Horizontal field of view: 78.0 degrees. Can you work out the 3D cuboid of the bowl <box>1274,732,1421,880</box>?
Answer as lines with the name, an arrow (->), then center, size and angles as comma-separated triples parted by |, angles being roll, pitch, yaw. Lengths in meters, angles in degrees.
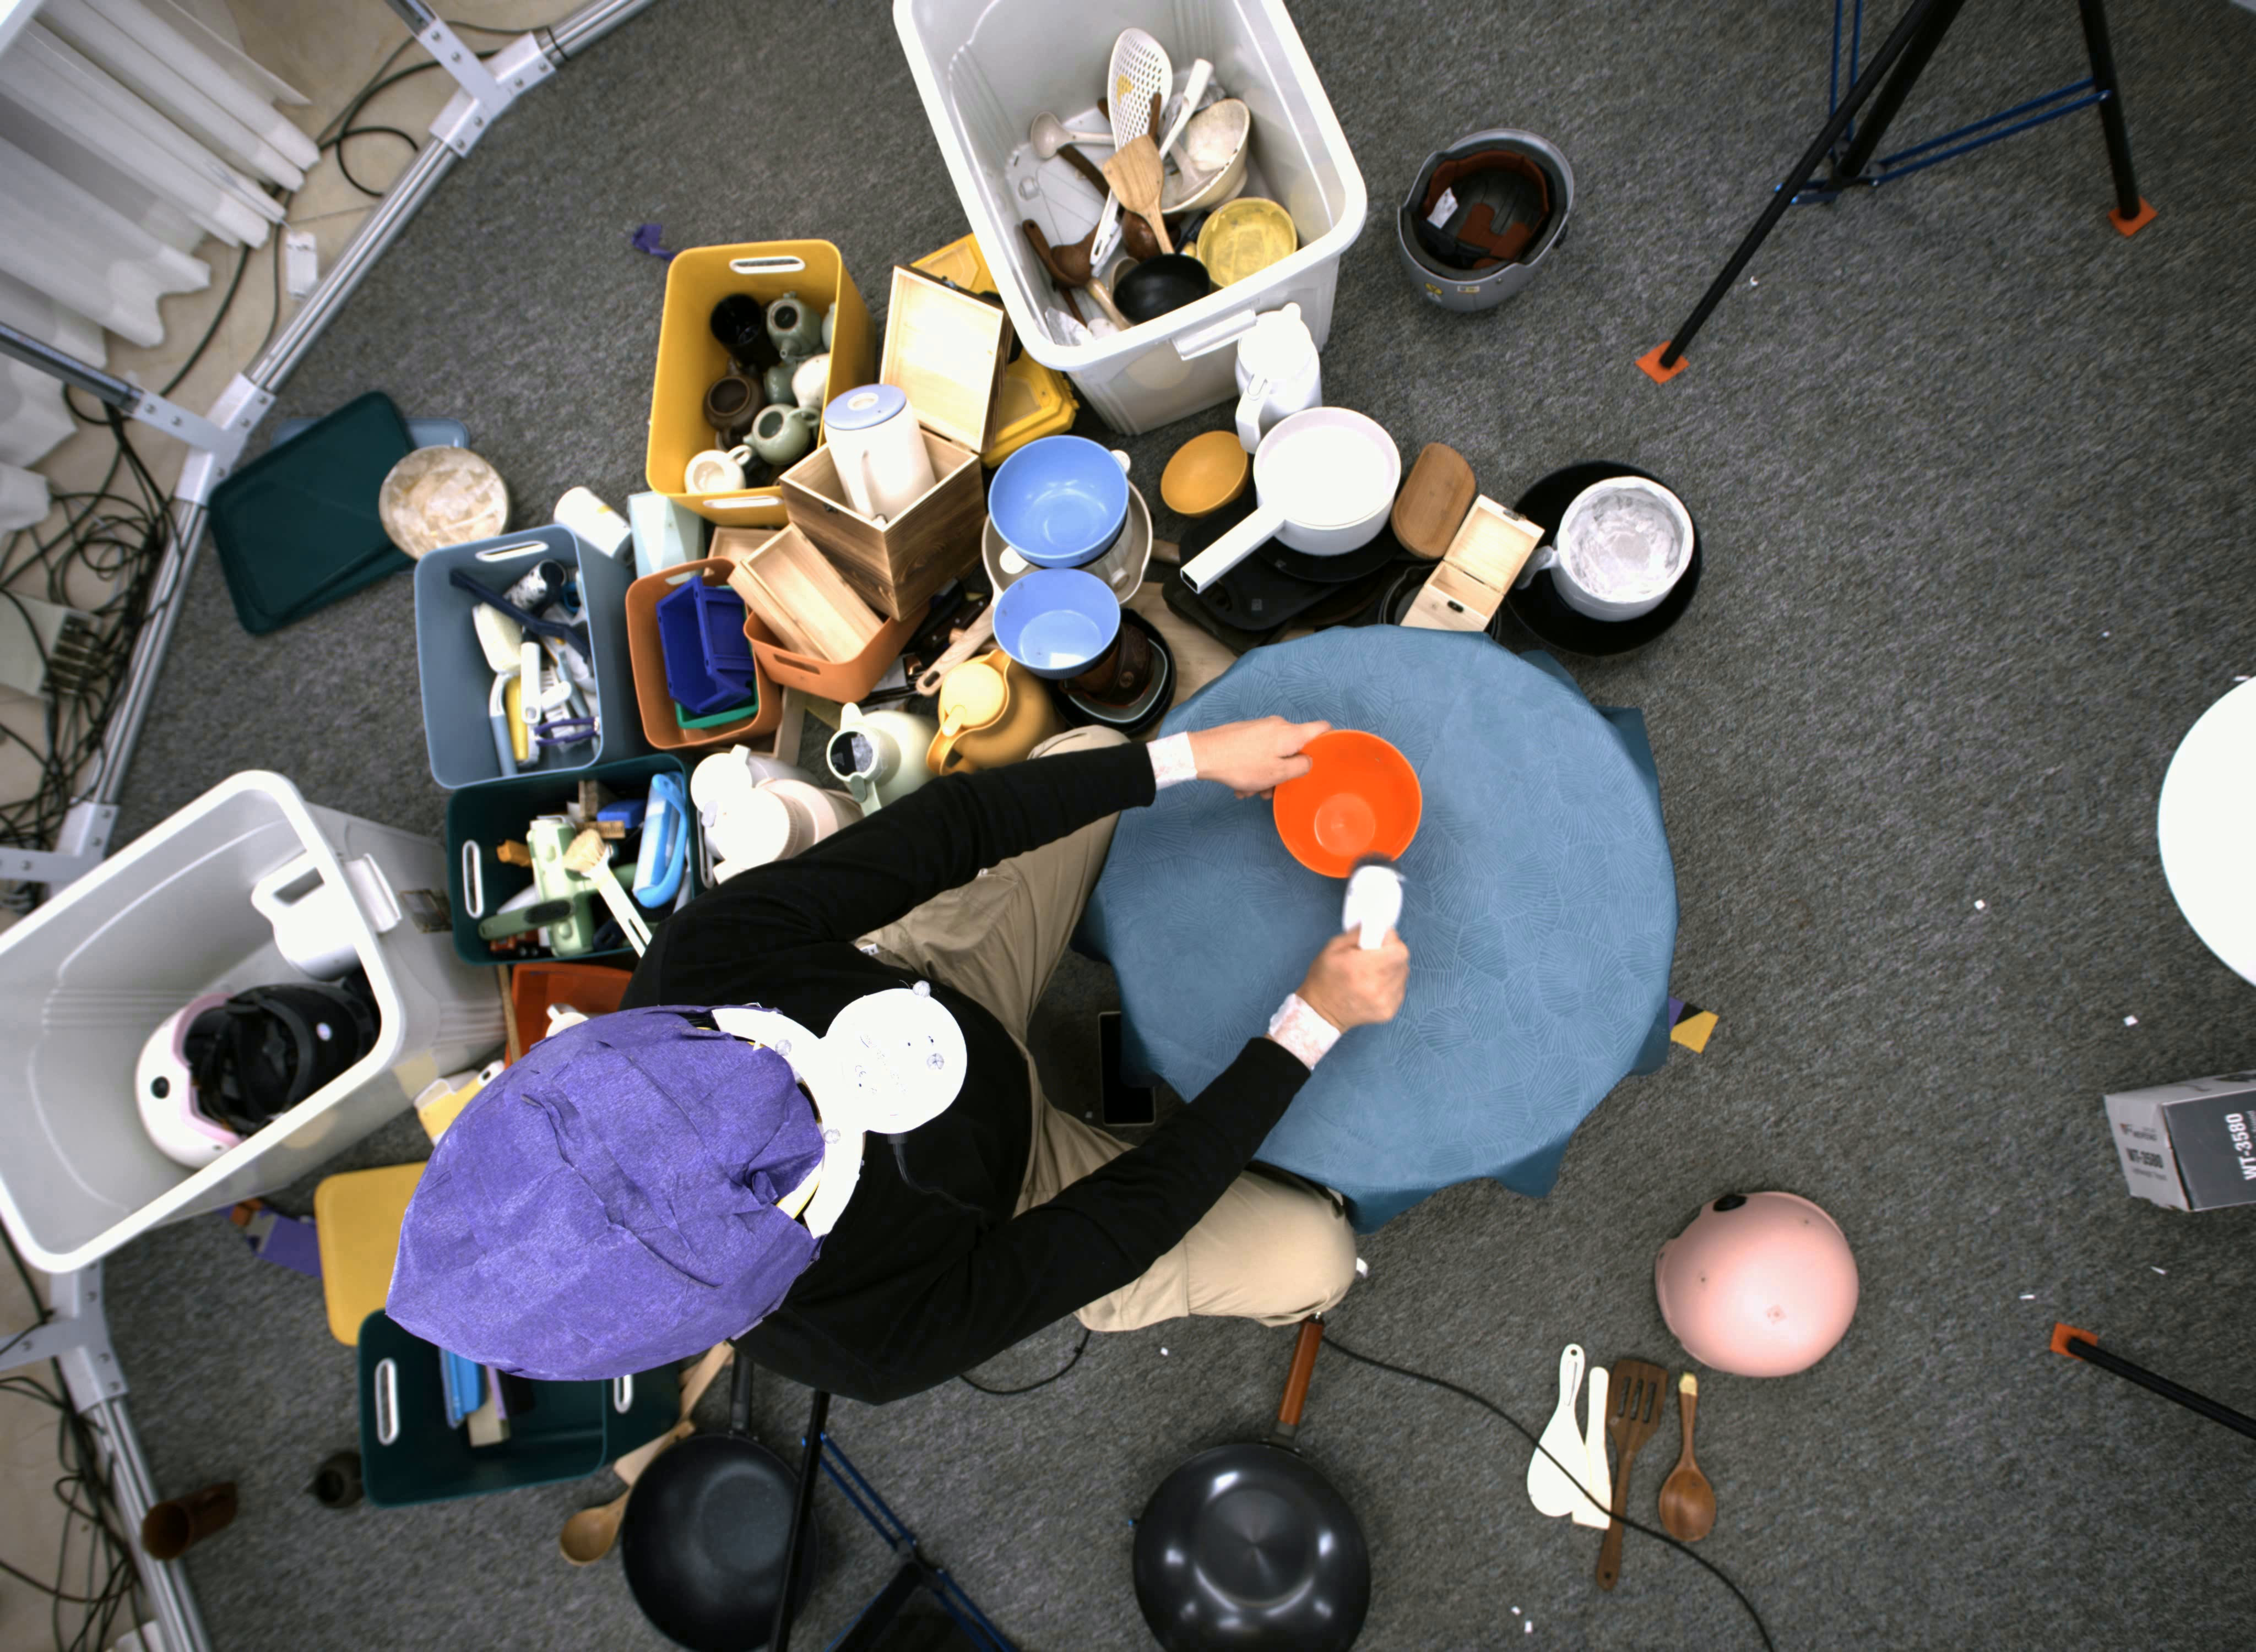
bowl -> 0.227, -0.017, 1.424 | 0.148, 0.105, 0.147 | -1, 86, 11

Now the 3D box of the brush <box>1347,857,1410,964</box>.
brush -> 0.242, 0.088, 1.334 | 0.050, 0.070, 0.102 | 11, 130, -1
